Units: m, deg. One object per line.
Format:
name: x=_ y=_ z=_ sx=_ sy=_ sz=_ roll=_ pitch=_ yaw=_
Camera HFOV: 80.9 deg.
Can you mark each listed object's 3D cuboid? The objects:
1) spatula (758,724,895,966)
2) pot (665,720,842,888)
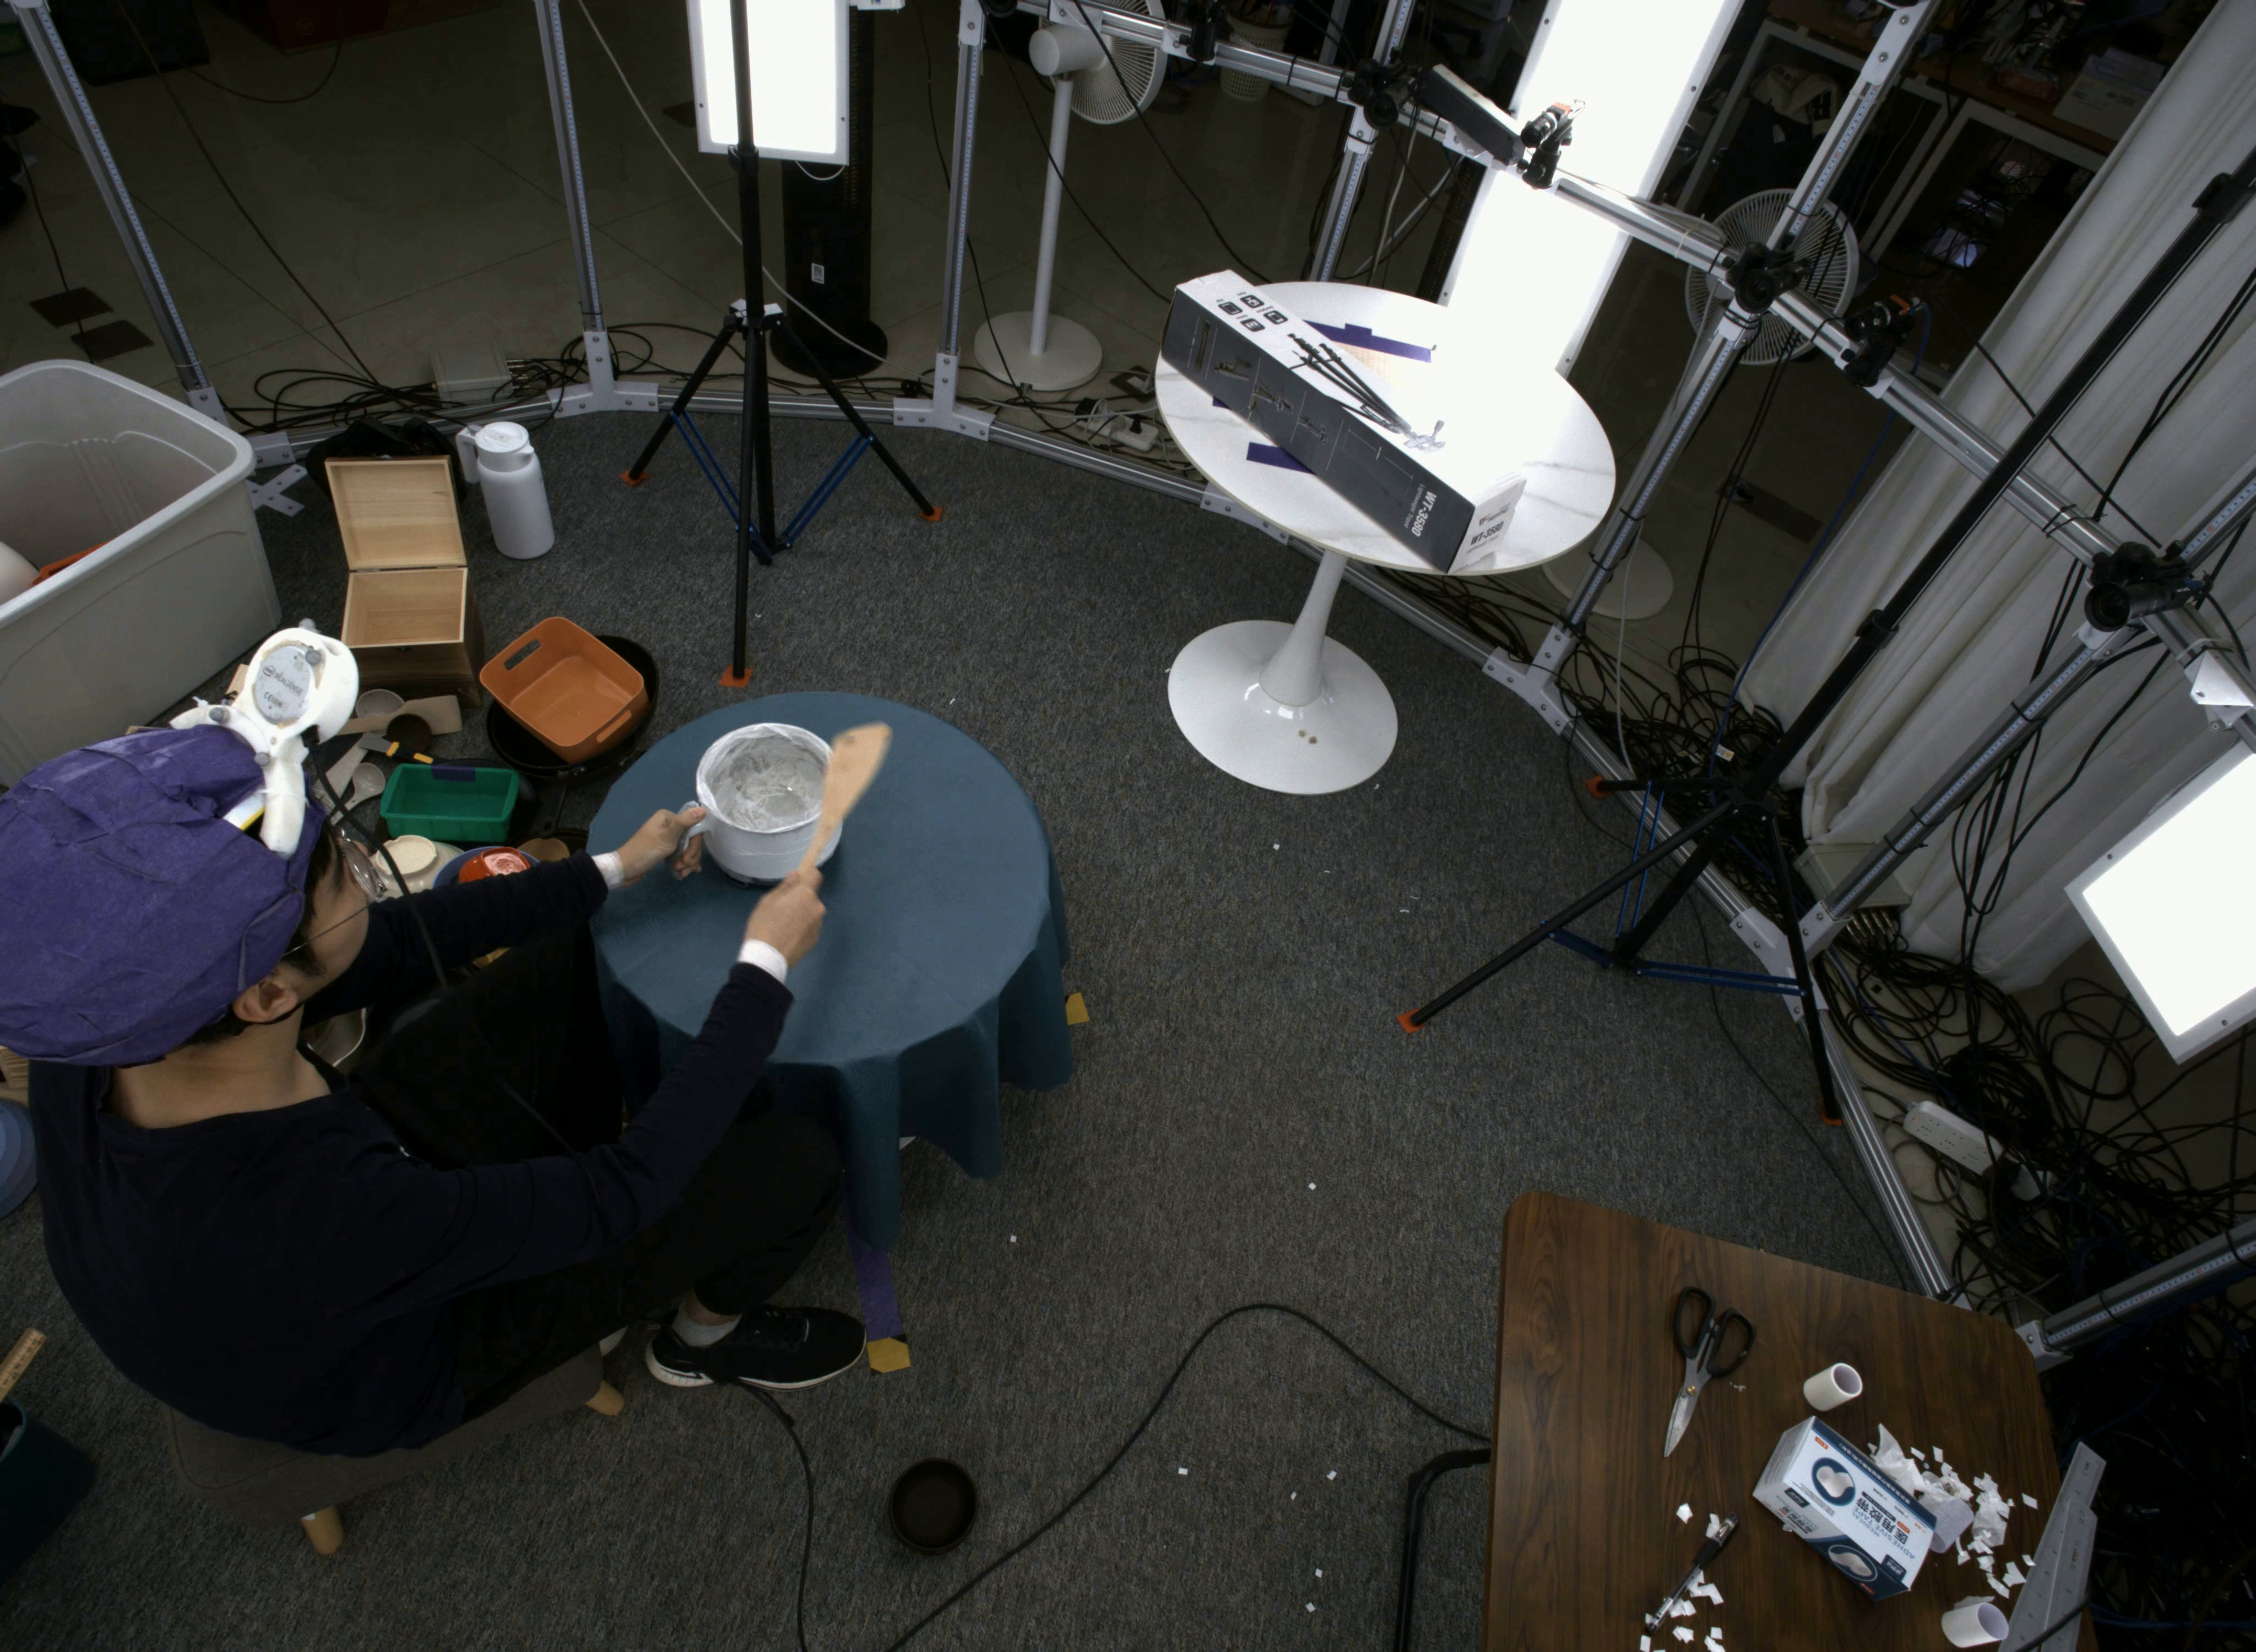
spatula: x=-0.355 y=0.015 z=1.496 sx=0.077 sy=0.017 sz=0.325 roll=4 pitch=57 yaw=24
pot: x=-0.477 y=-0.016 z=1.641 sx=0.235 sy=0.139 sz=0.174 roll=-27 pitch=62 yaw=-31
